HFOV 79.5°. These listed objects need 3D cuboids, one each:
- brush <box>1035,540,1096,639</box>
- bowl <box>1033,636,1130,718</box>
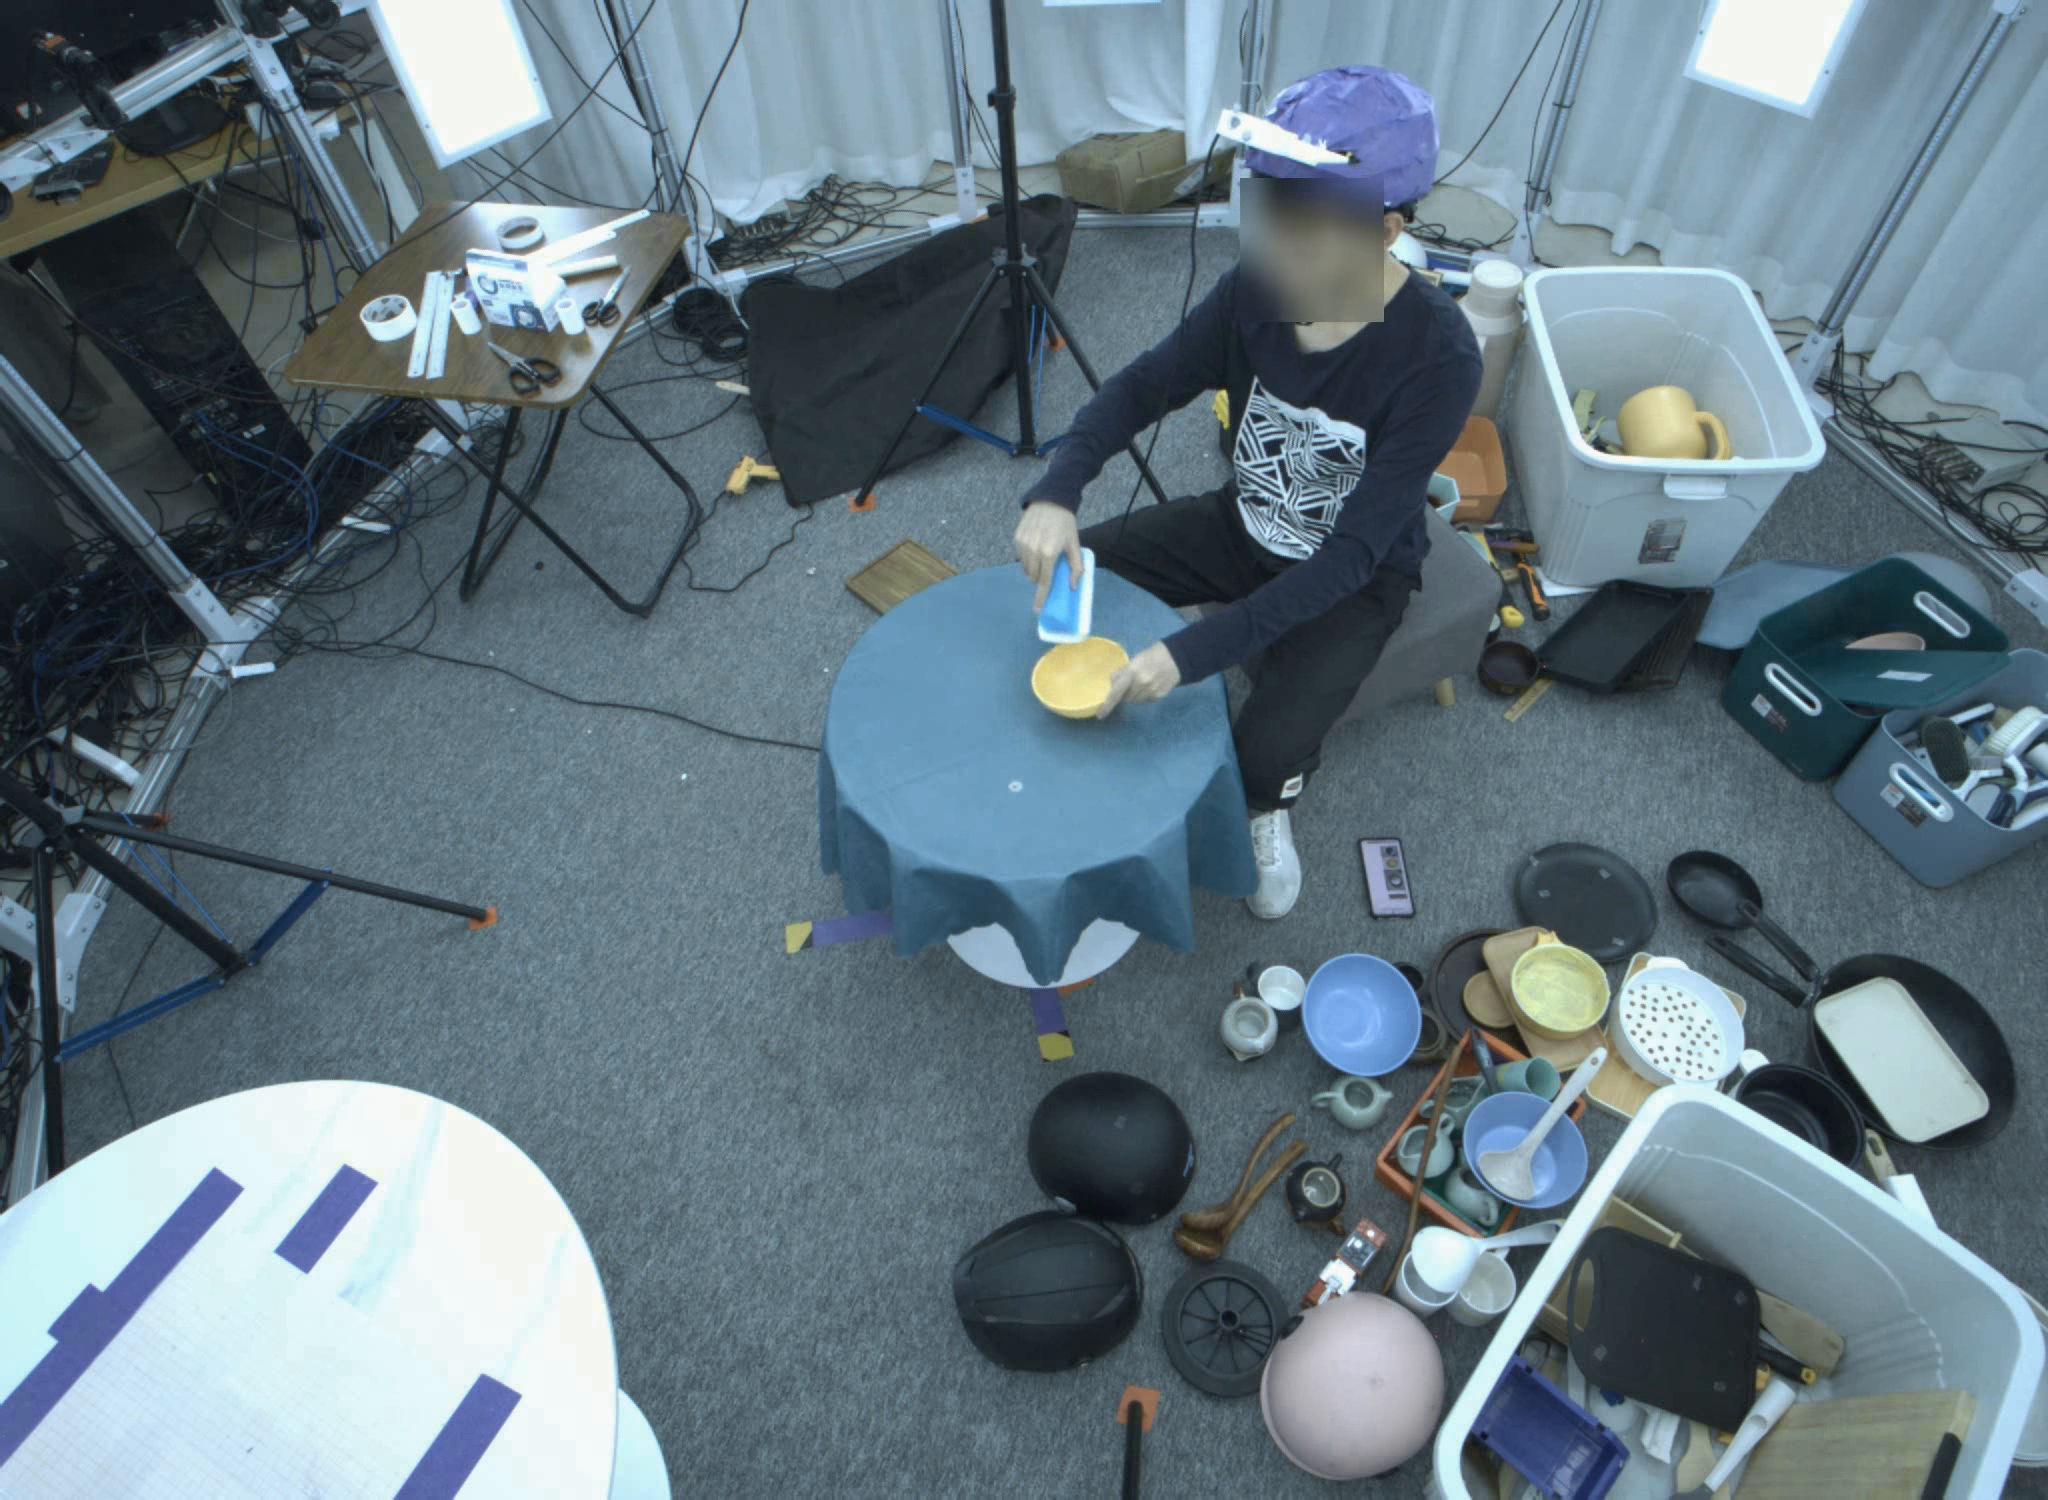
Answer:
[{"bbox_3d":[0.054,-0.234,1.777,0.083,0.056,0.144,6,94,19],"label":"brush"},{"bbox_3d":[0.090,-0.096,1.801,0.144,0.061,0.144,-9,50,12],"label":"bowl"}]
